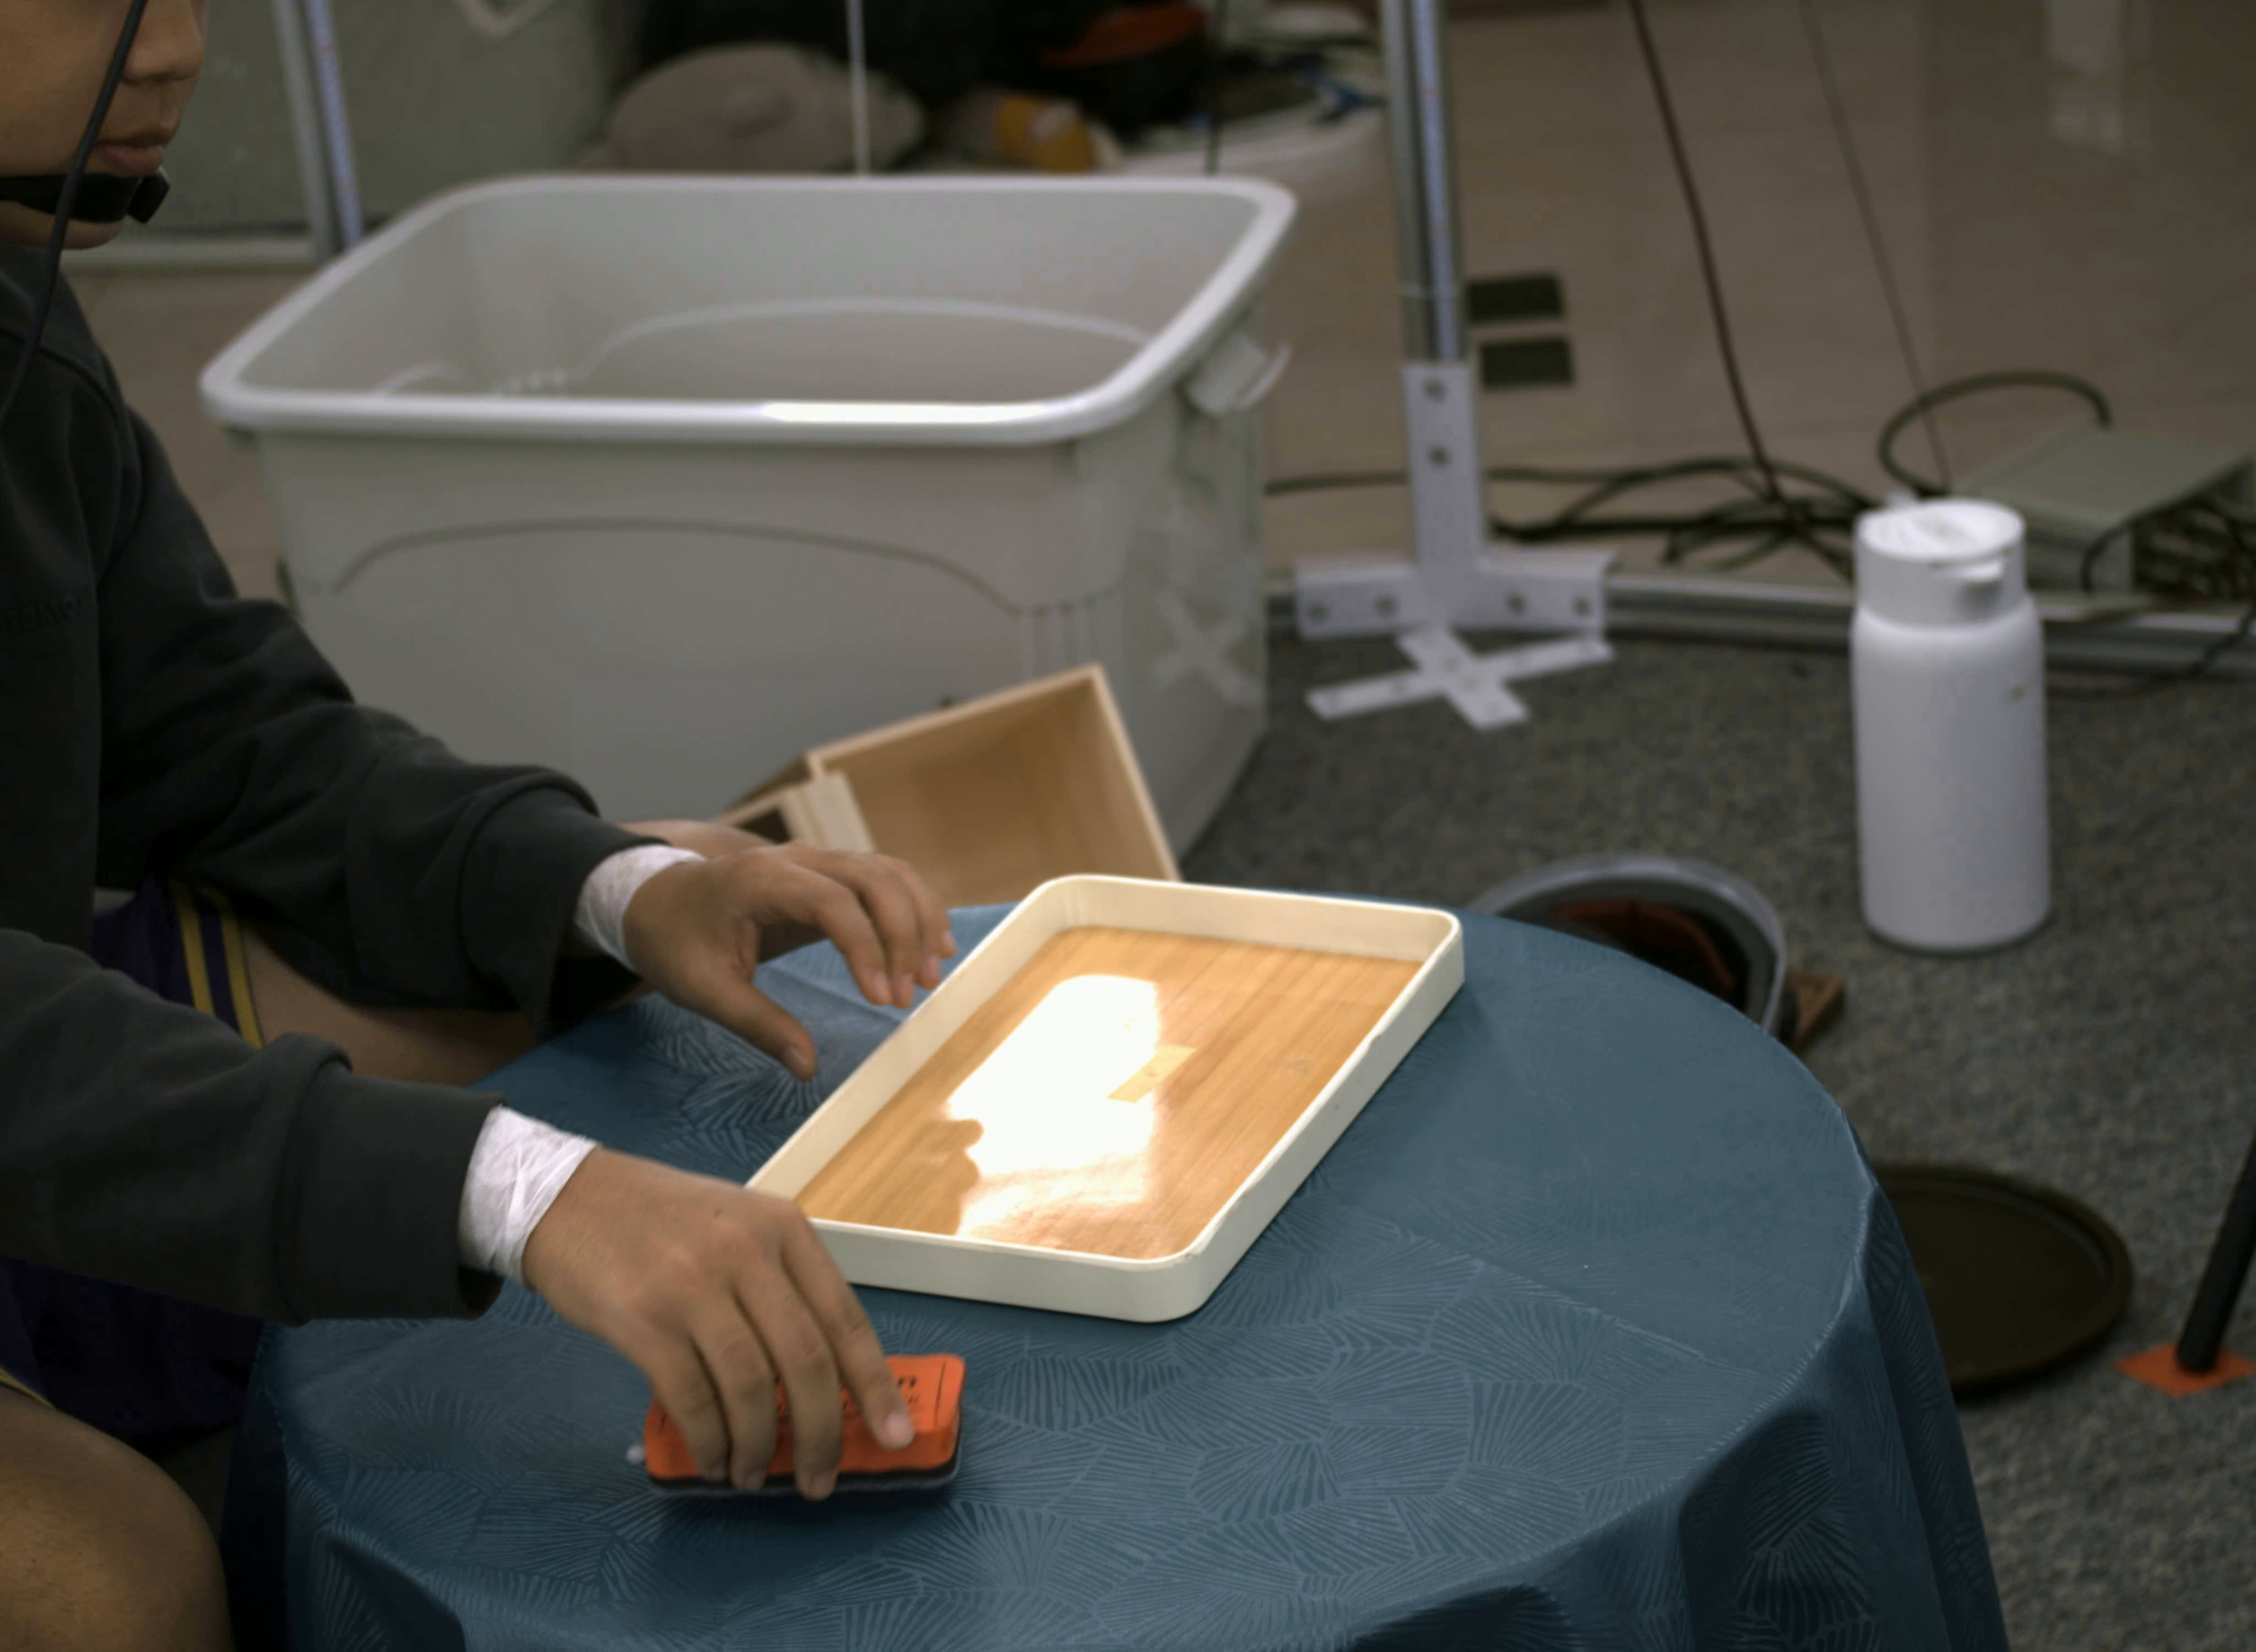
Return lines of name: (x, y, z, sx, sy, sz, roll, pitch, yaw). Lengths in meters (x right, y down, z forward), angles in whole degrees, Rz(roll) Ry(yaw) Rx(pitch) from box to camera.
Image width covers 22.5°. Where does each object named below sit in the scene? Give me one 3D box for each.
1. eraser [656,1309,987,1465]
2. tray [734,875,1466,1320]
eraser: (-0.107, 0.195, 1.983, 0.108, 0.023, 0.058, 5, 25, 16)
tray: (-0.006, 0.100, 2.199, 0.191, 0.028, 0.296, 6, 27, 25)
